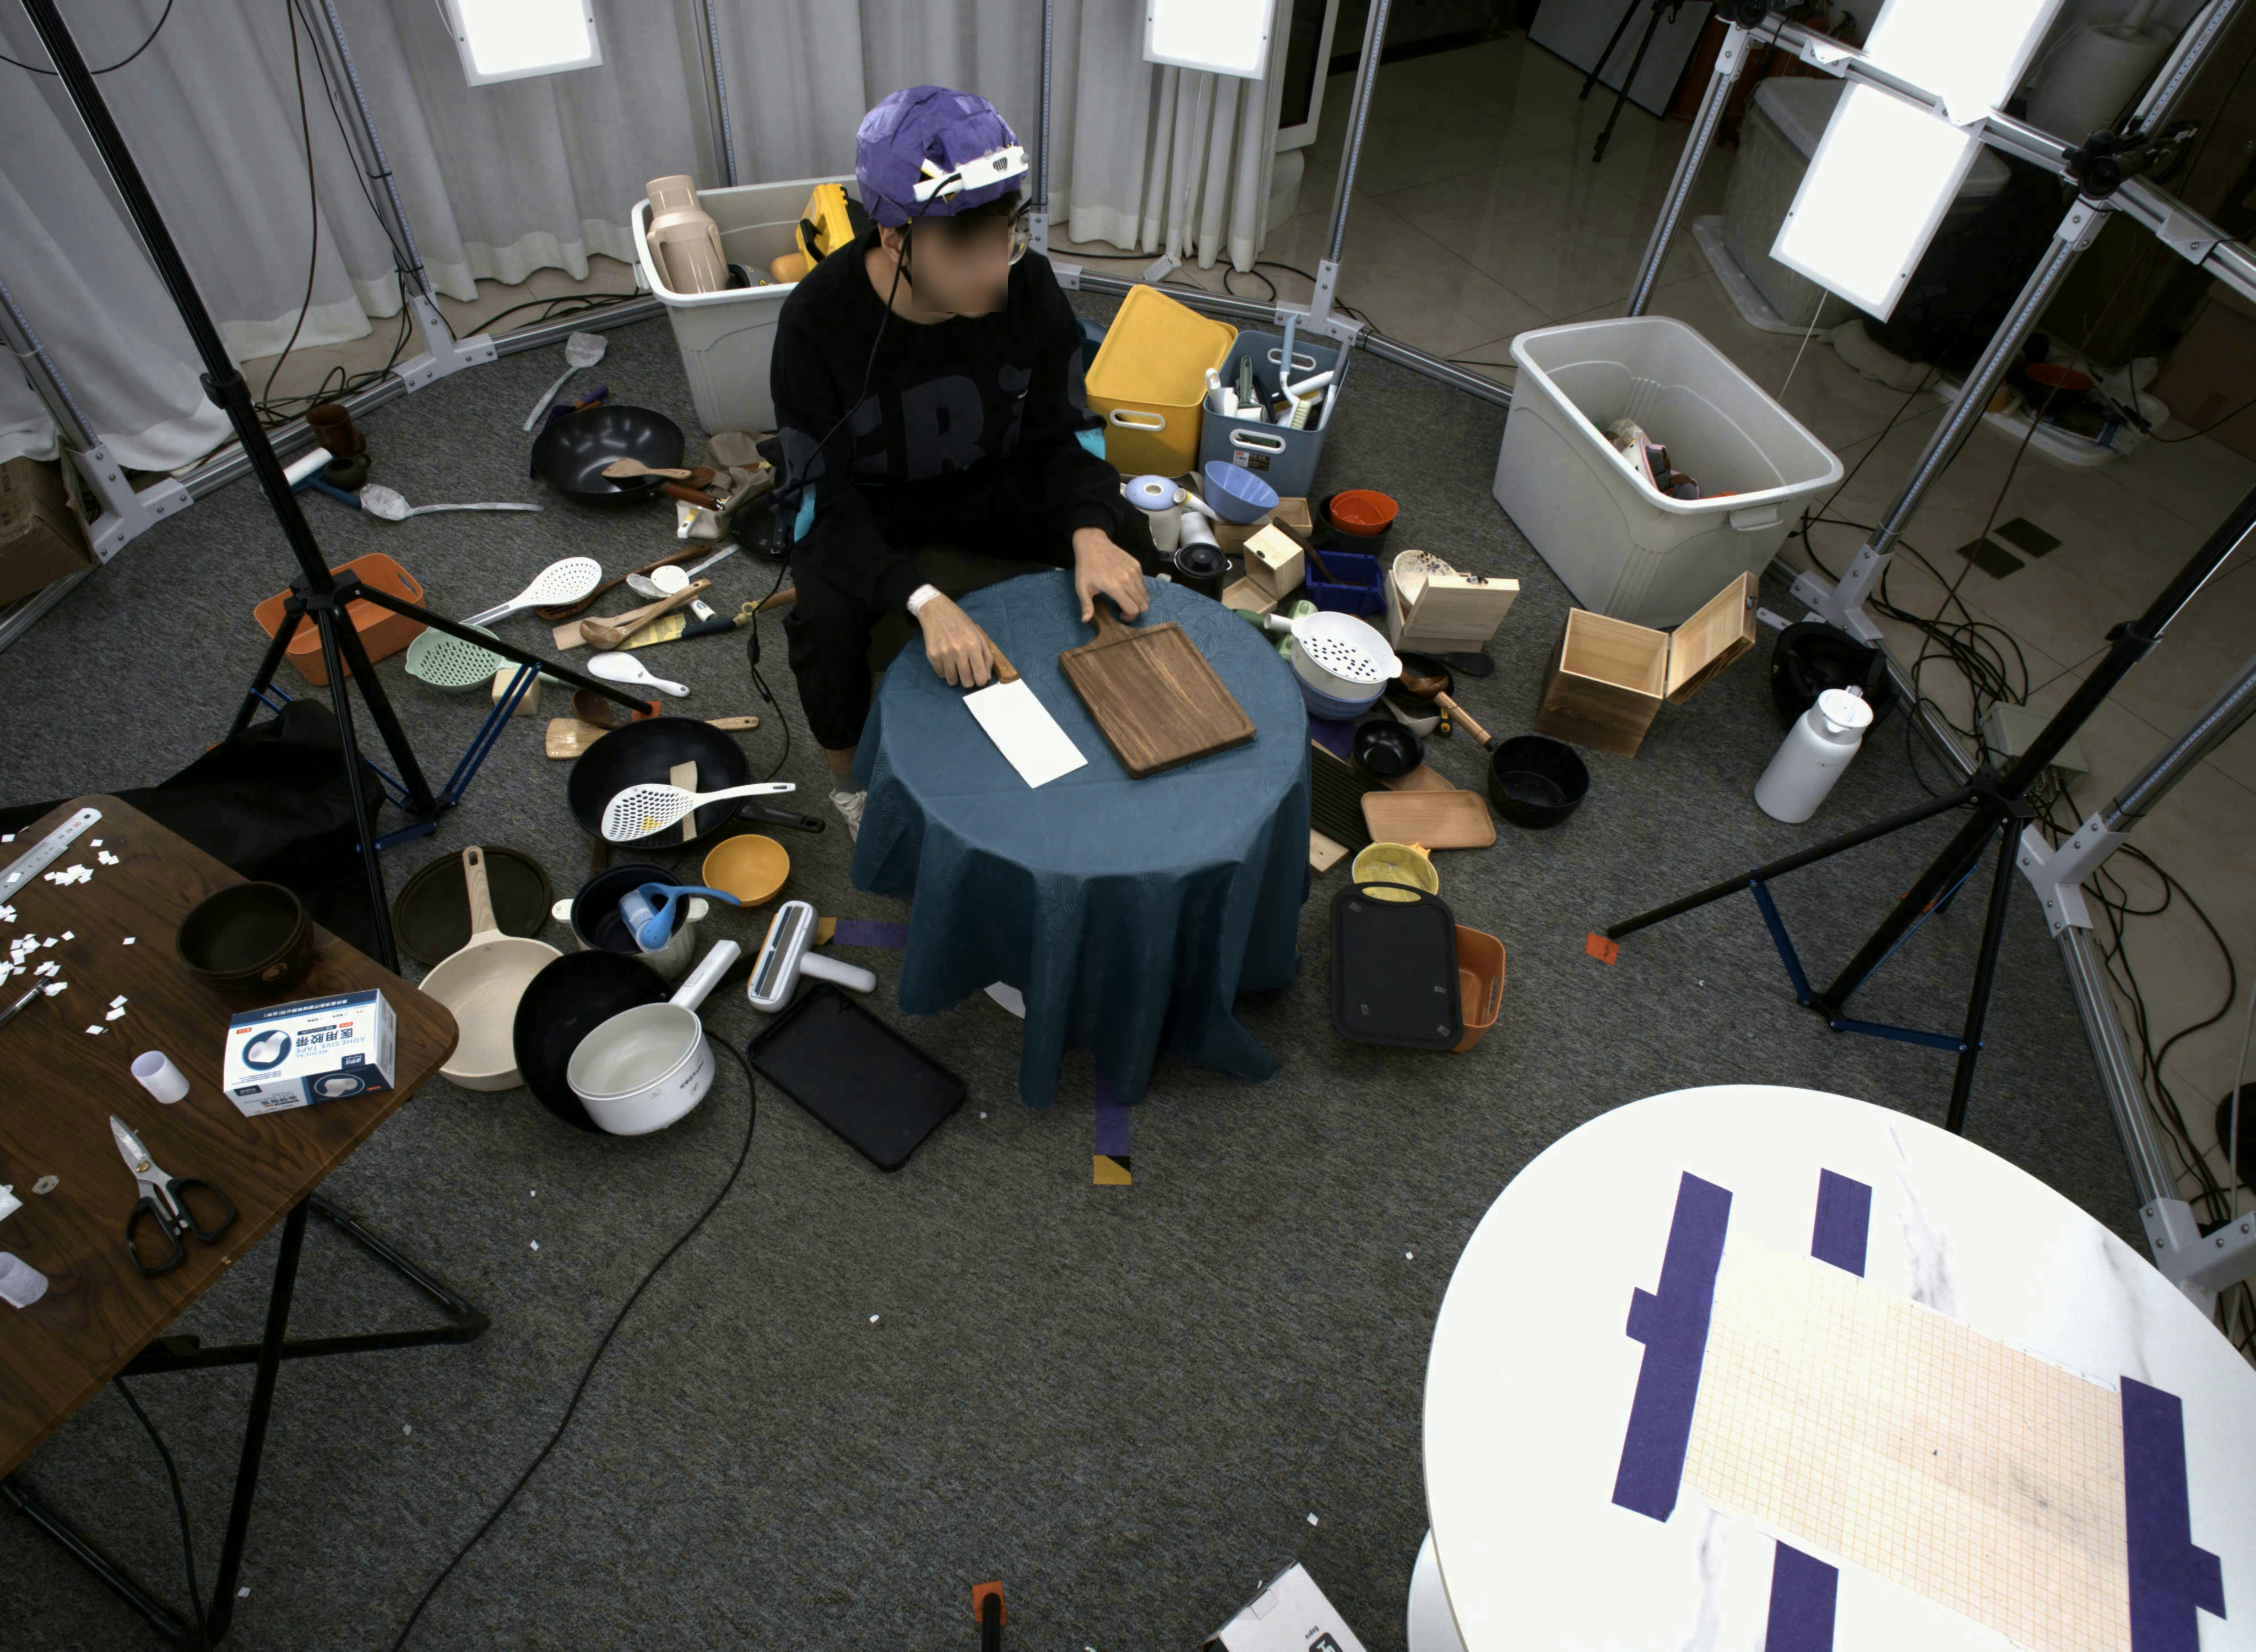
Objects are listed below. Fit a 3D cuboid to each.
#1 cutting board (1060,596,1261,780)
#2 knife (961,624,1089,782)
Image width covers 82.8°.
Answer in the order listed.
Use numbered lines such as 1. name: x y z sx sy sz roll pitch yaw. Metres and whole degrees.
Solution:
1. cutting board: 0.021 -0.218 1.846 0.201 0.022 0.360 -19 53 -19
2. knife: -0.169 -0.173 1.797 0.093 0.020 0.312 -25 57 -22
